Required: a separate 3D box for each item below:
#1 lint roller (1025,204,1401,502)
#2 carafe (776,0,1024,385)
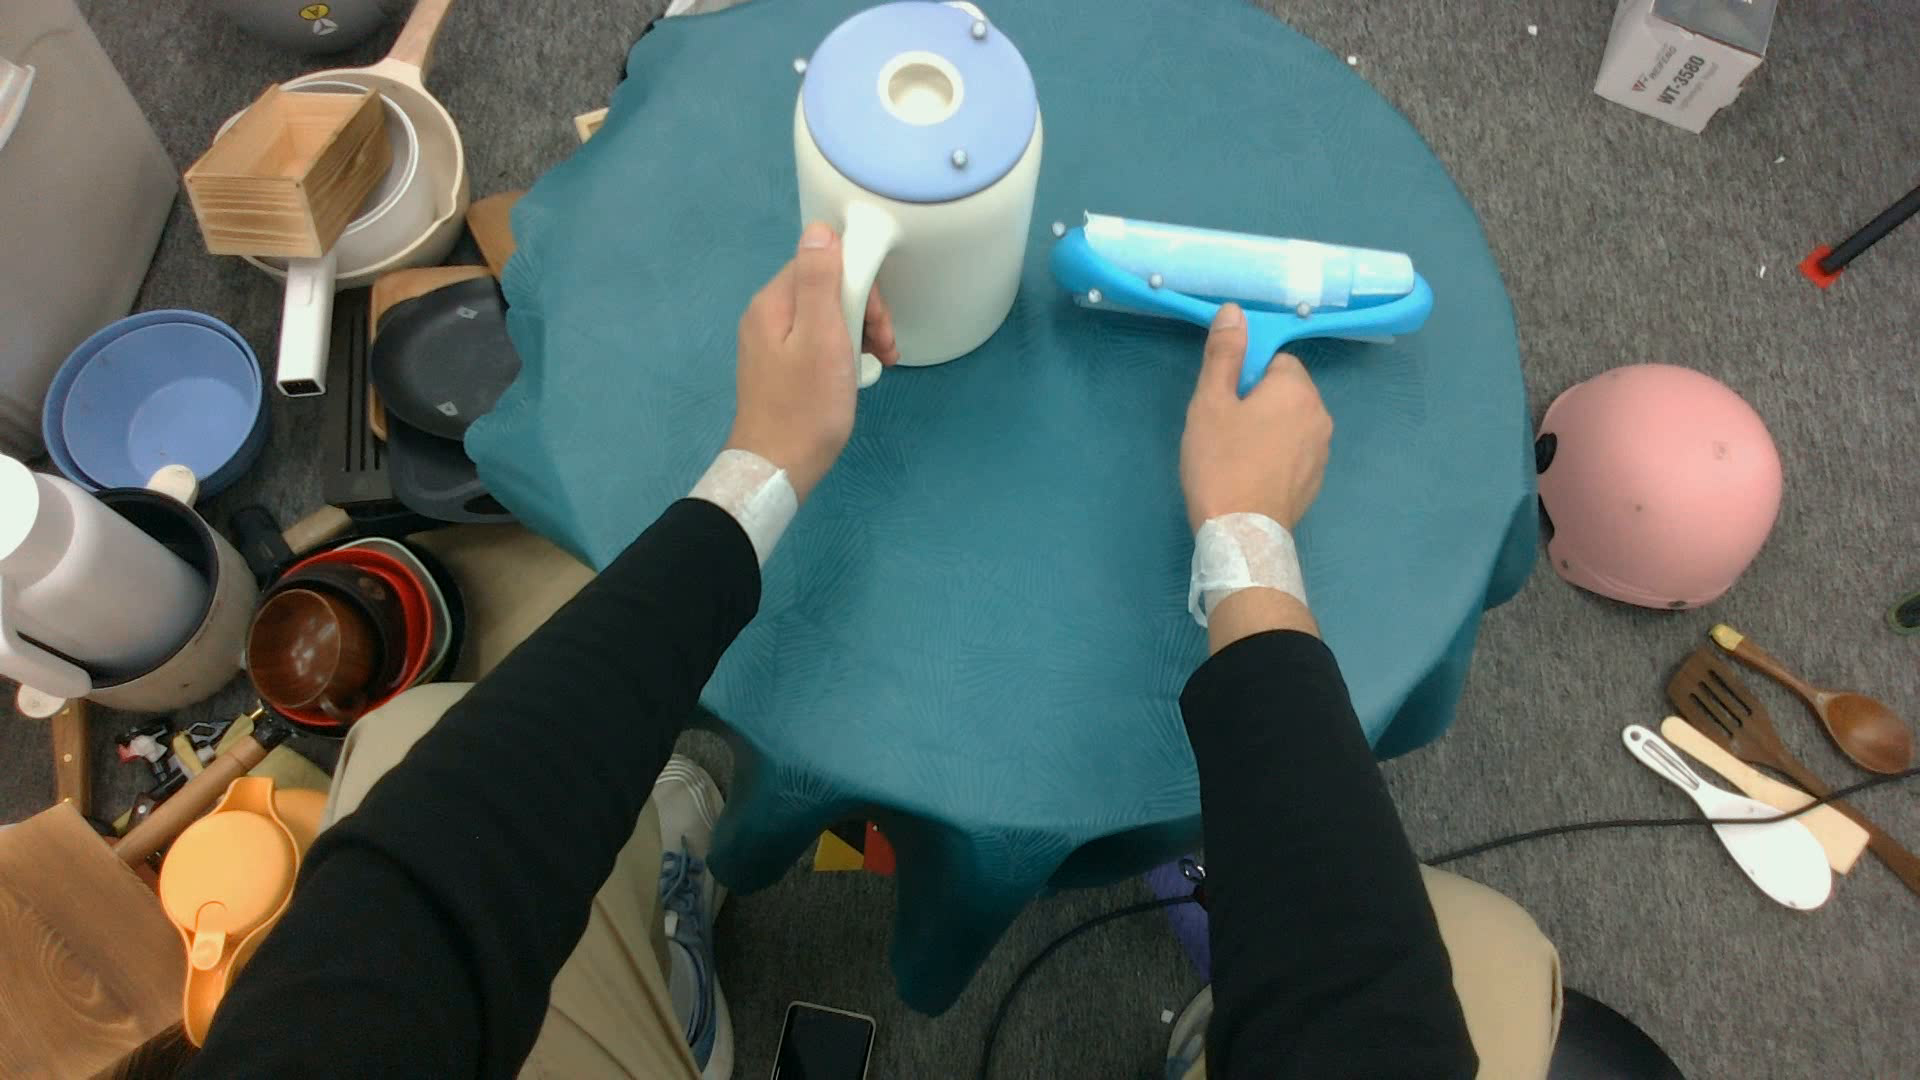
[{"bbox_3d":[0.151,-0.113,0.799,0.229,0.067,0.181,6,57,-7],"label":"lint roller"},{"bbox_3d":[-0.043,-0.179,0.763,0.132,0.182,0.191,19,71,3],"label":"carafe"}]
